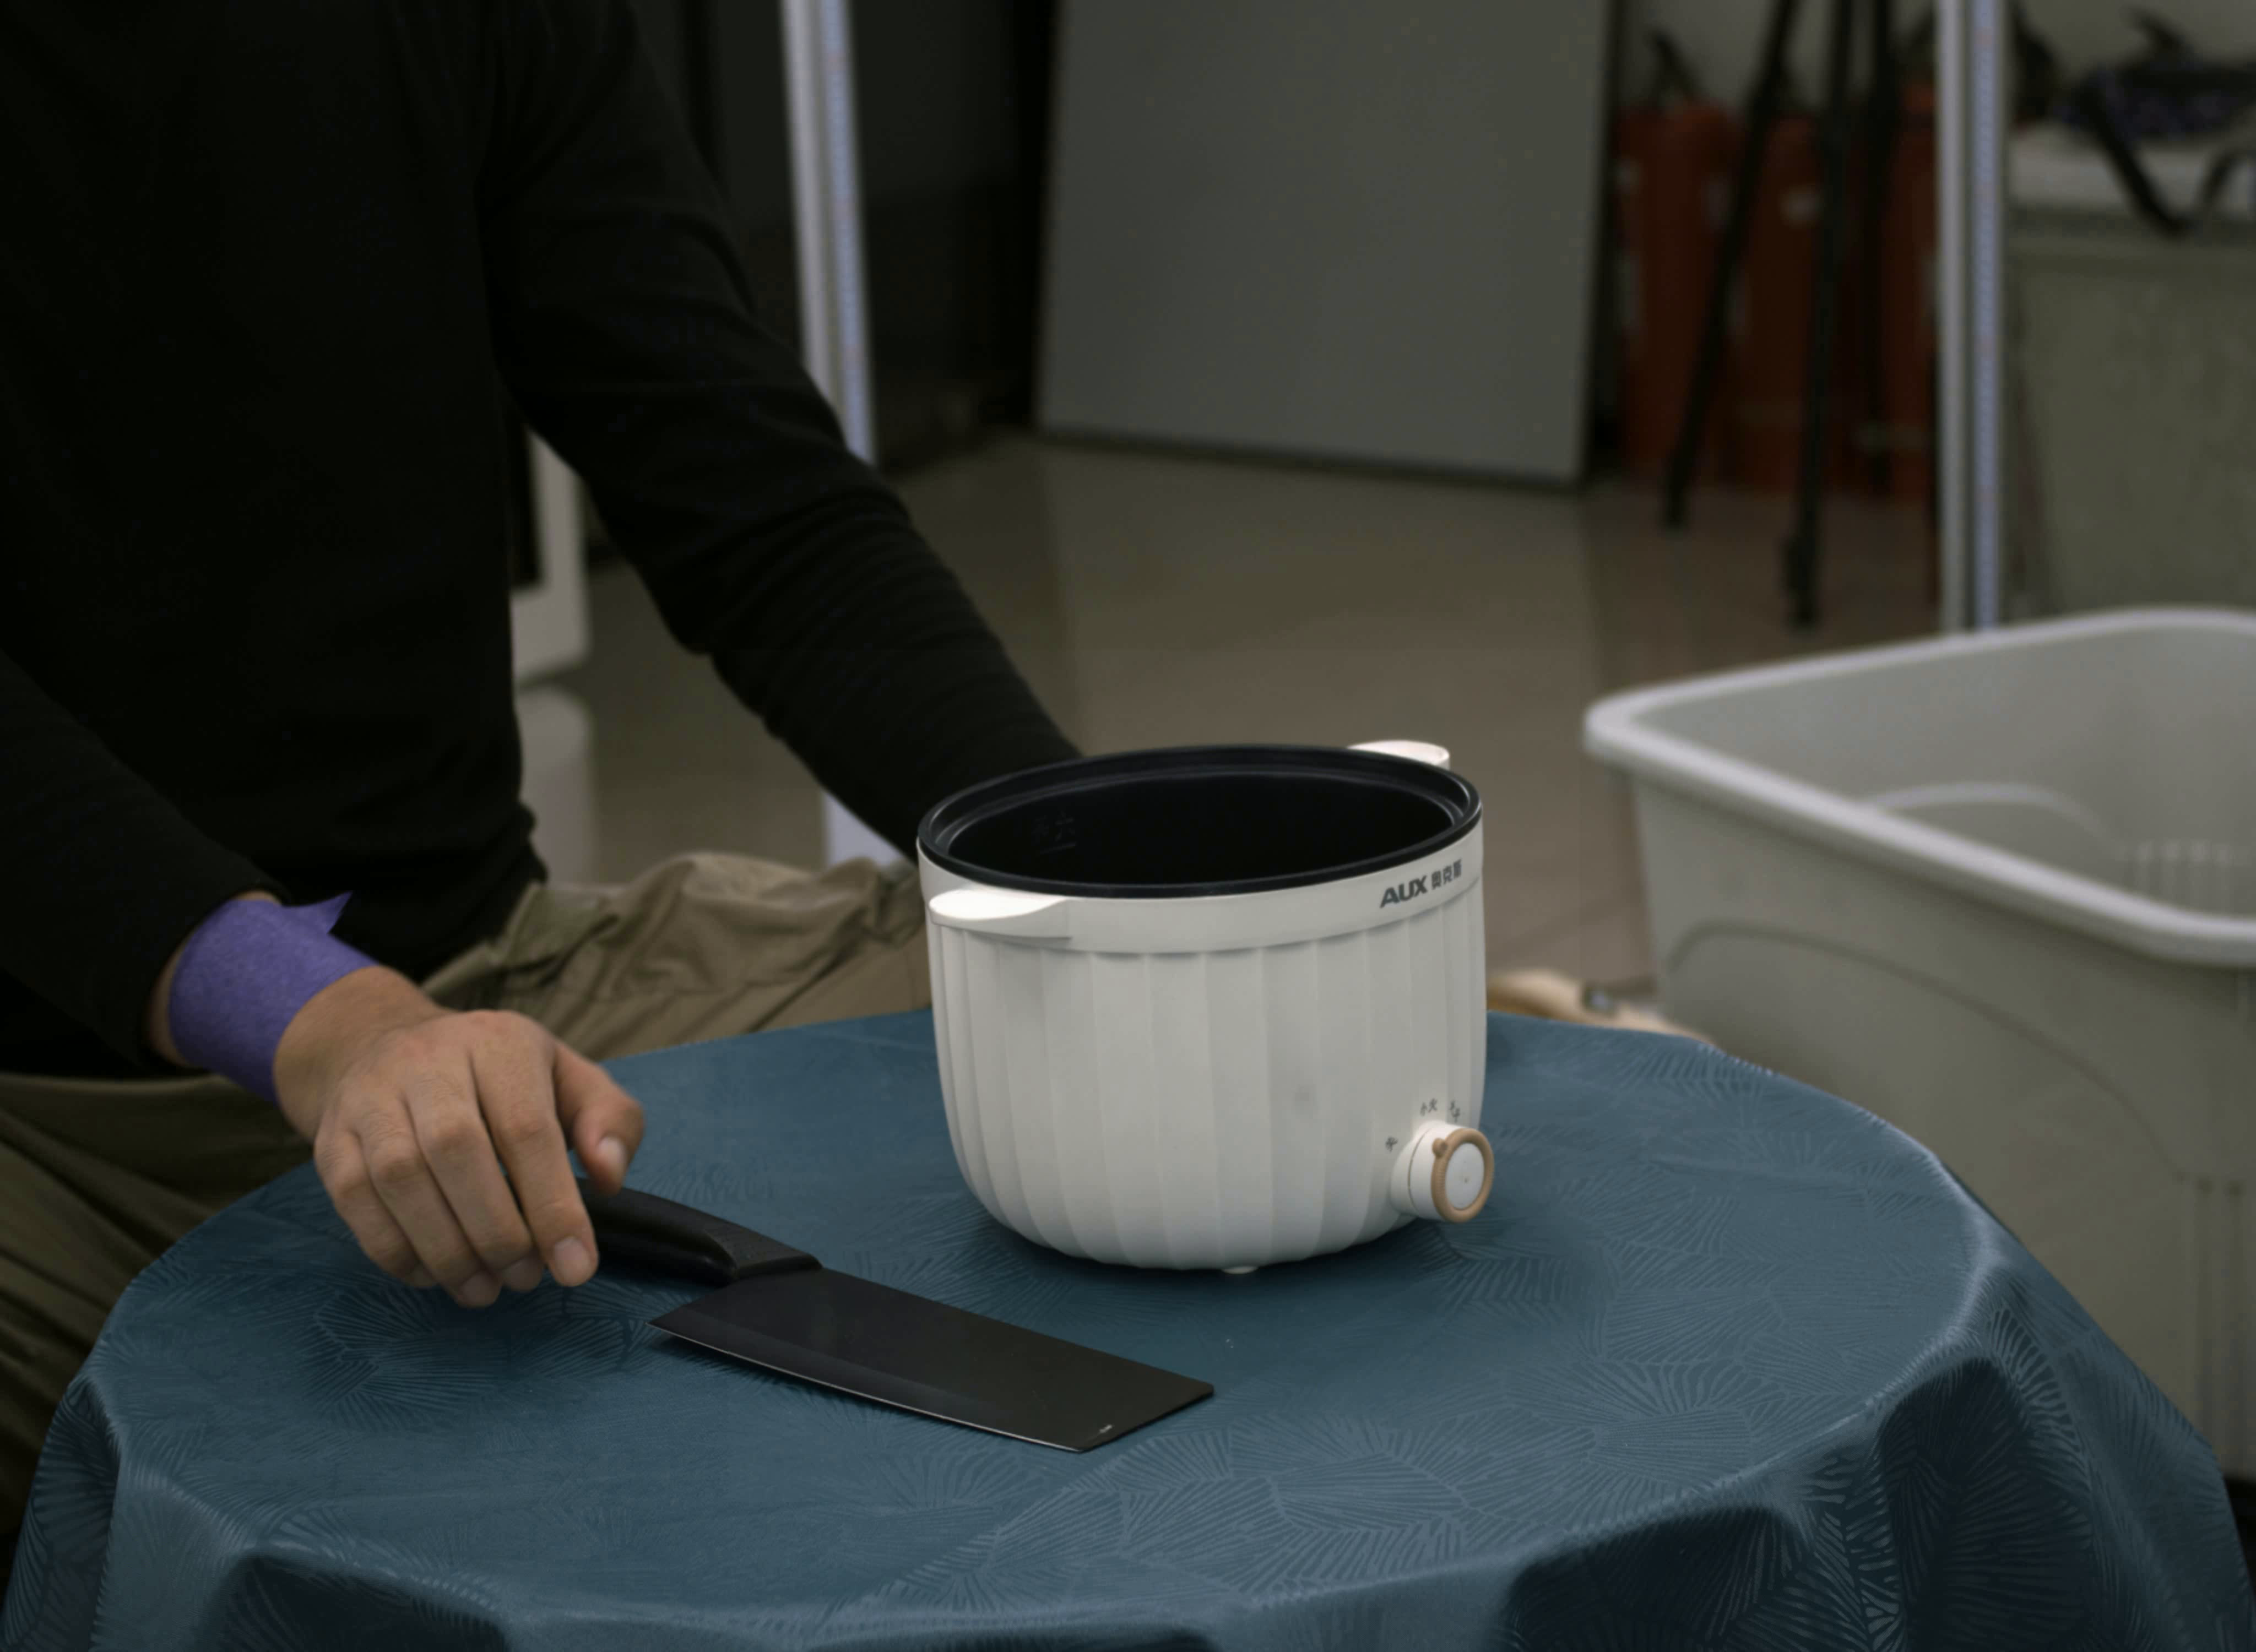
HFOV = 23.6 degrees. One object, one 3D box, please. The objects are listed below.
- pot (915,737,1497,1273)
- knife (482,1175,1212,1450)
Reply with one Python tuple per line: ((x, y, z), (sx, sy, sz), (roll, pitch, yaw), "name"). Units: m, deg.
((0.031, 0.059, 1.726), (0.192, 0.144, 0.236), (3, 16, 41), "pot")
((-0.100, 0.149, 1.664), (0.079, 0.021, 0.305), (-17, 21, -39), "knife")
